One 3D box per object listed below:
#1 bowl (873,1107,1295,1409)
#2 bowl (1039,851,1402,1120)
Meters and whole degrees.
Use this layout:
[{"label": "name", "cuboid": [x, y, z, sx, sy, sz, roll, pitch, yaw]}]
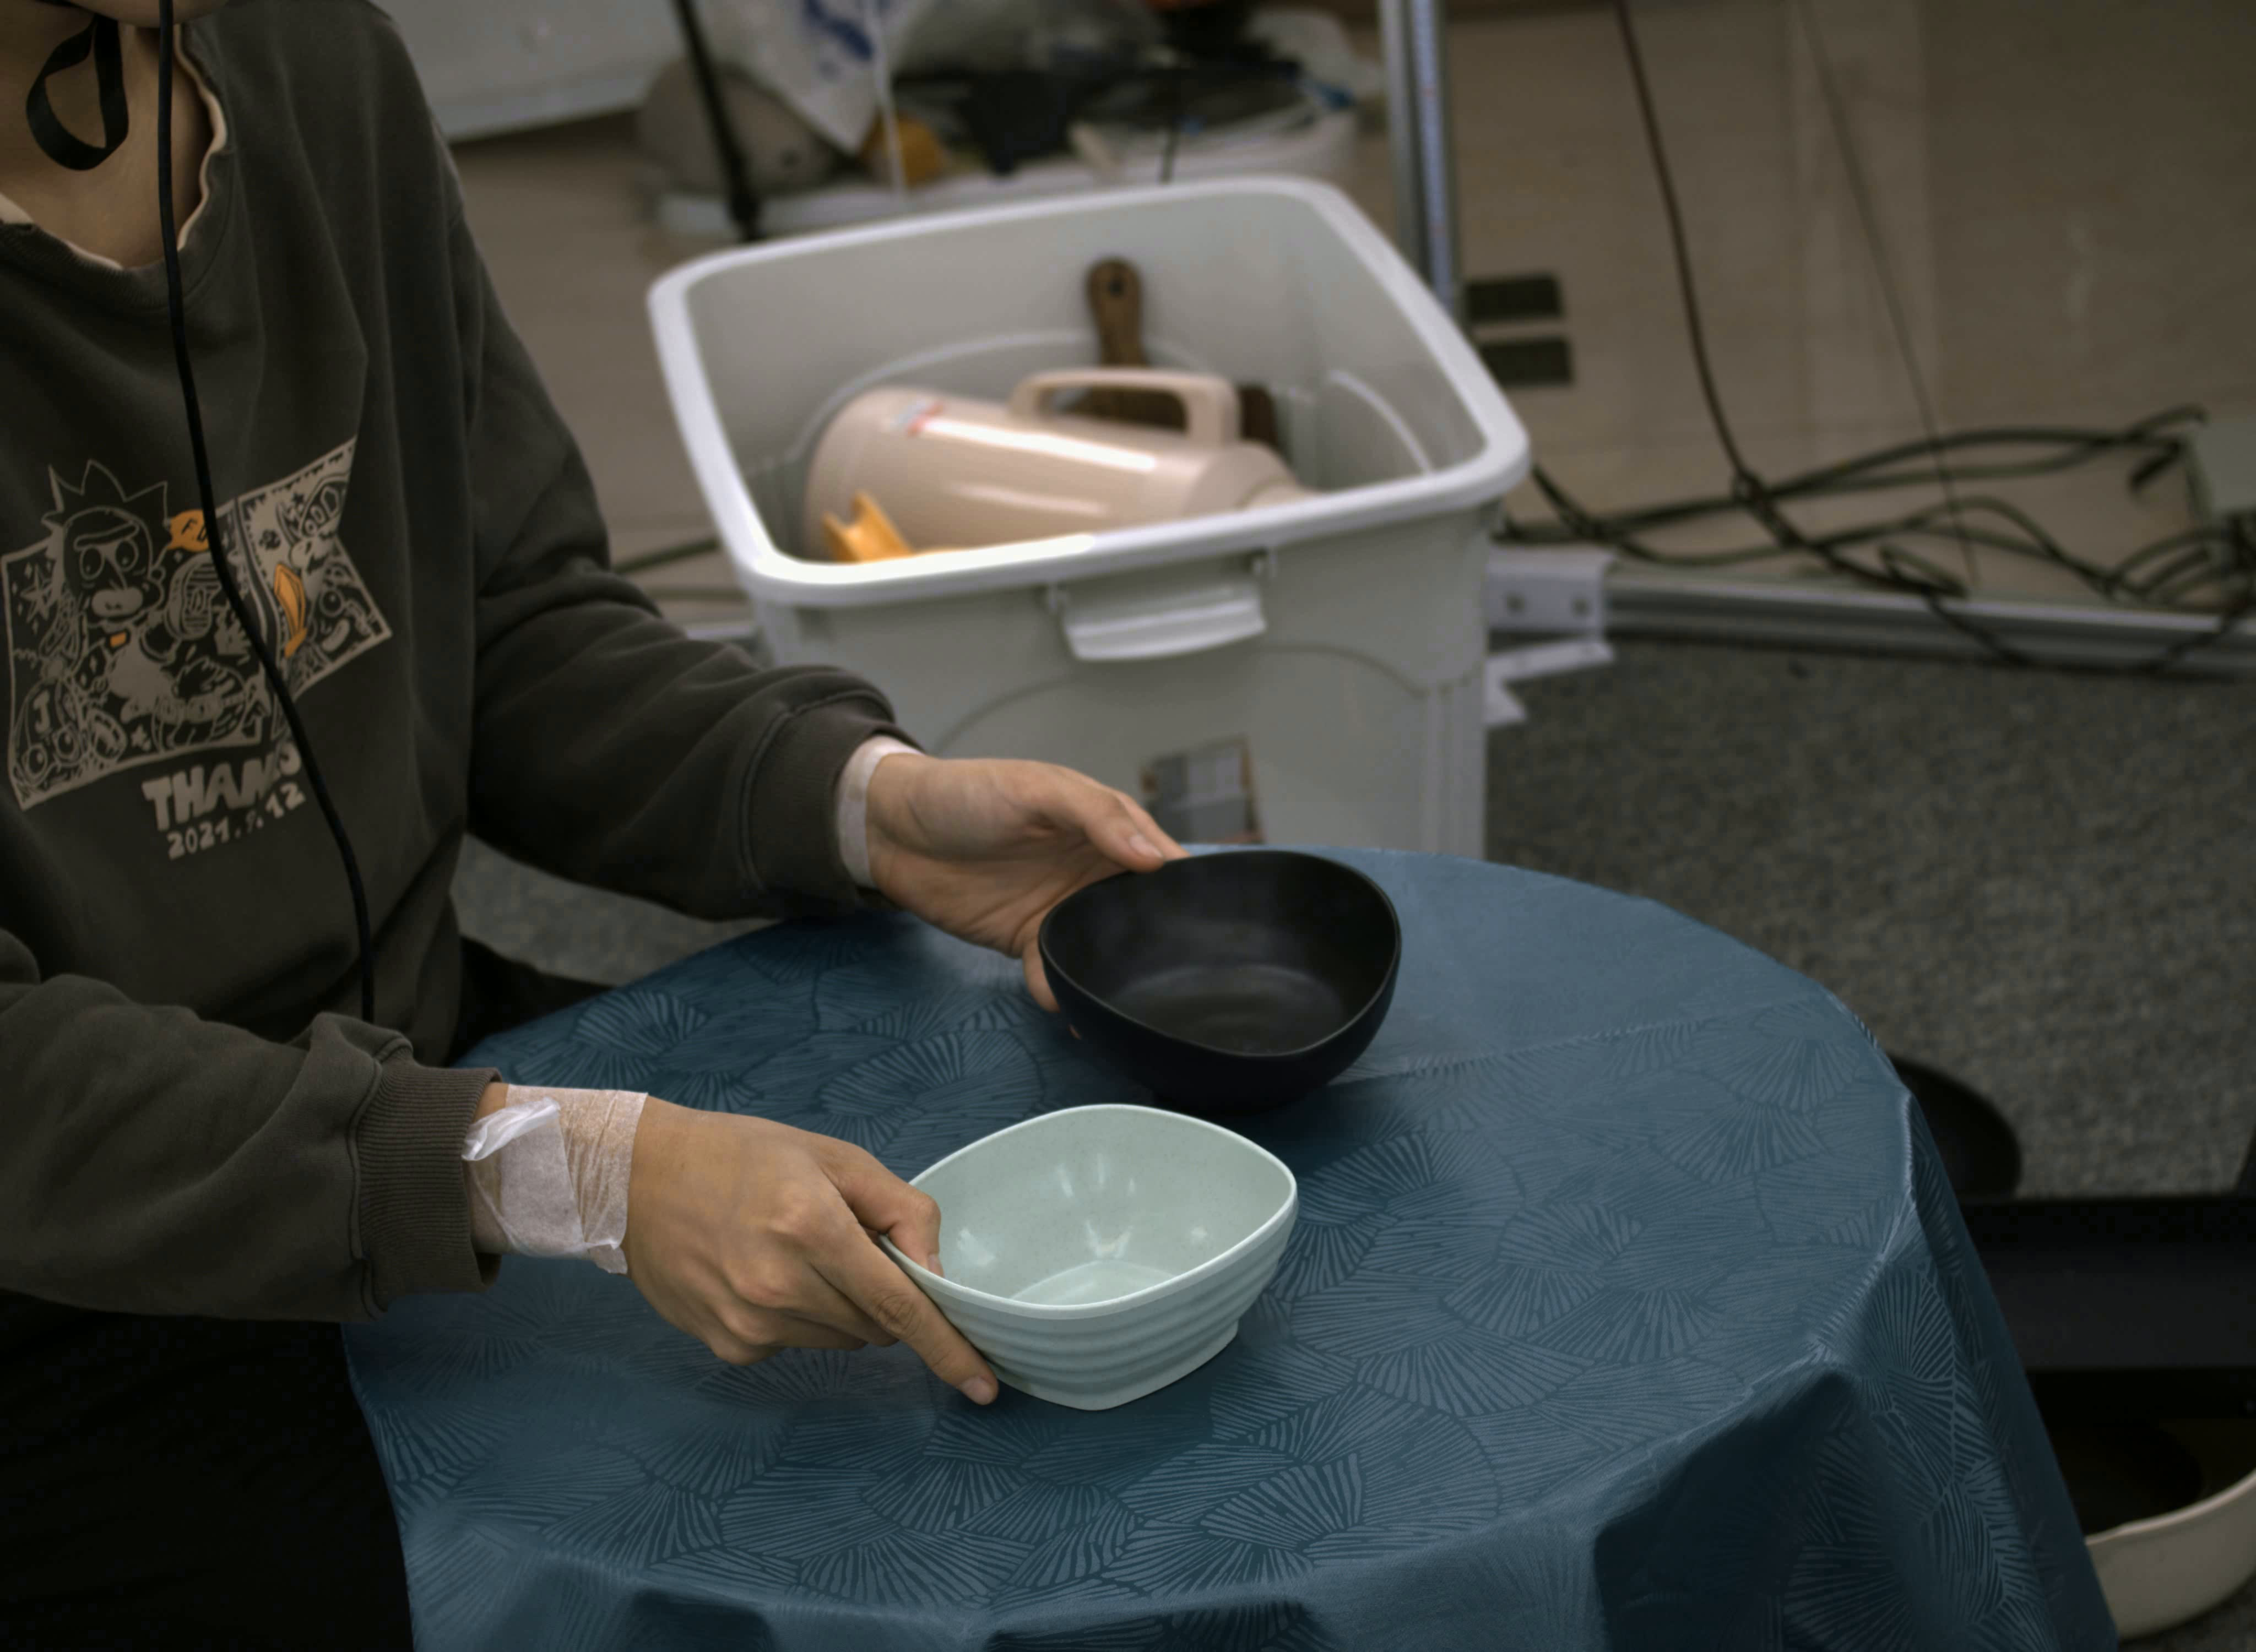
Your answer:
[{"label": "bowl", "cuboid": [-0.014, 0.160, 2.034, 0.151, 0.059, 0.149, -4, 24, 2]}, {"label": "bowl", "cuboid": [0.040, 0.069, 2.210, 0.137, 0.068, 0.168, -15, 28, -17]}]
